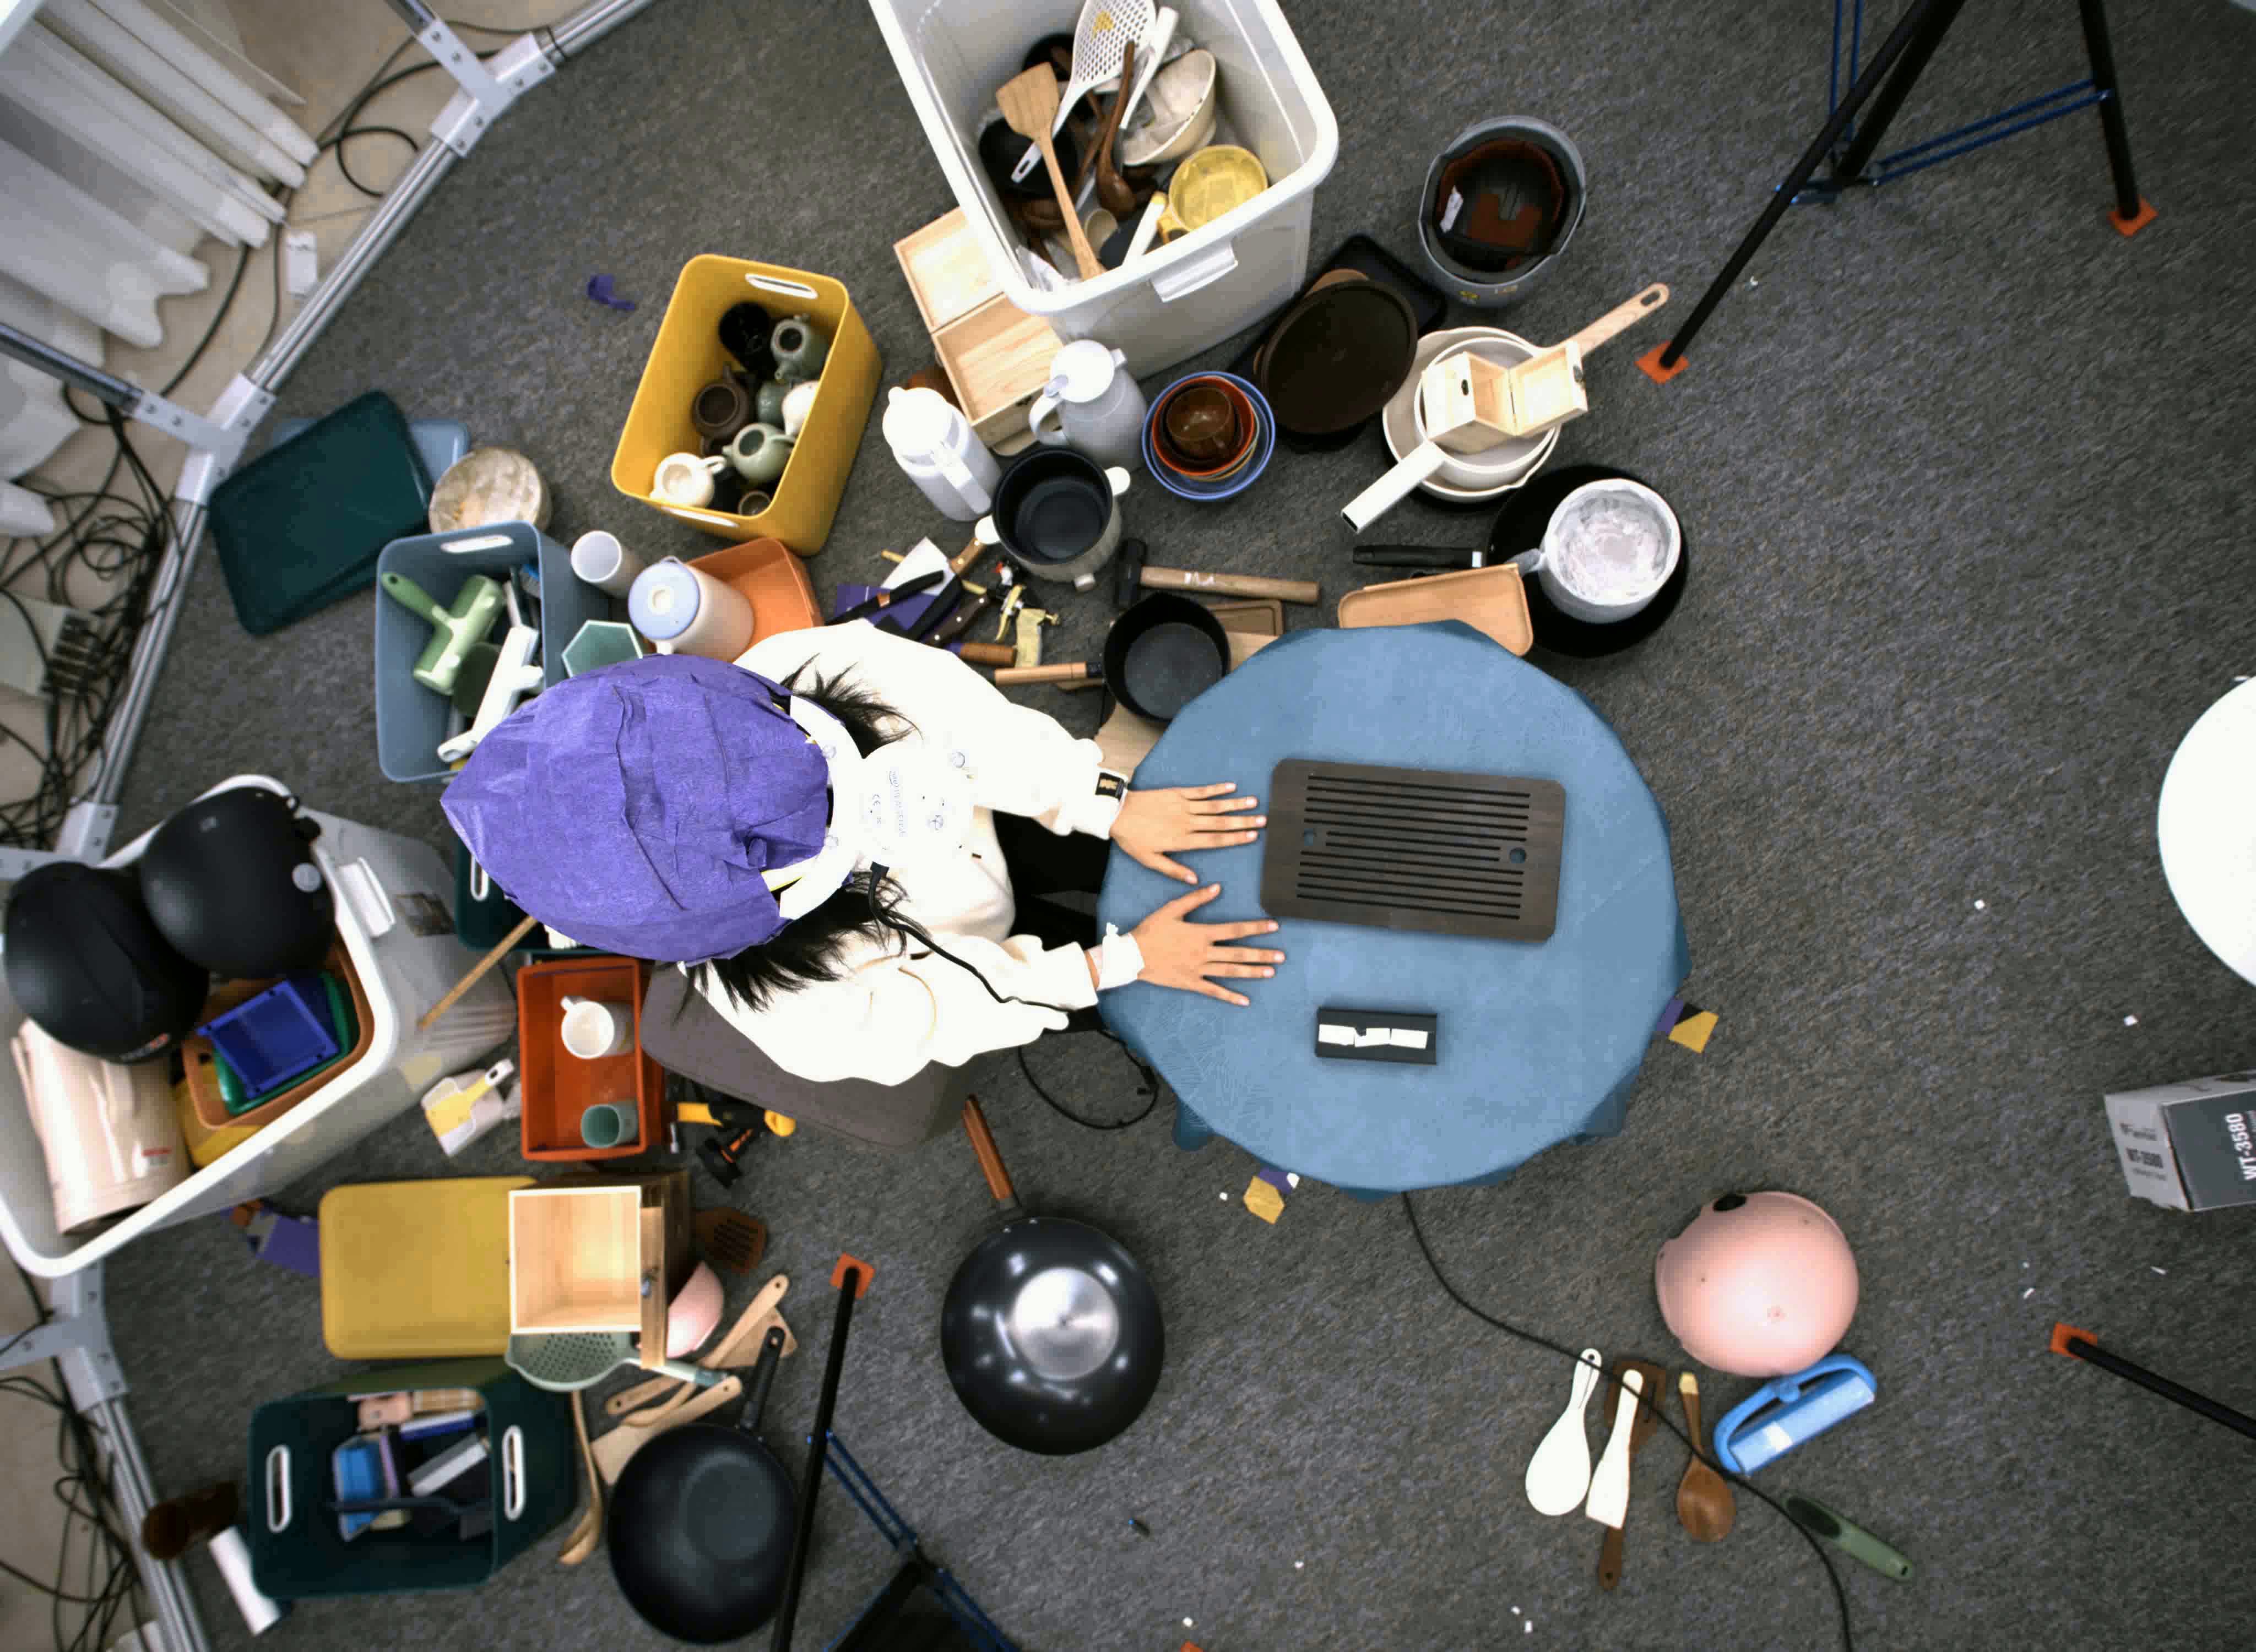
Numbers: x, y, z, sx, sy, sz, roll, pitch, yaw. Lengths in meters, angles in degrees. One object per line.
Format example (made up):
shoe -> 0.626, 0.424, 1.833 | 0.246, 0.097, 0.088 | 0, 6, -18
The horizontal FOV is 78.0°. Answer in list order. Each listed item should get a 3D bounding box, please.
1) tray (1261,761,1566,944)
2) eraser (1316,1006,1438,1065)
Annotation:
tray -> 0.298, 0.026, 1.448 | 0.307, 0.018, 0.169 | 5, 88, 11
eraser -> 0.260, 0.216, 1.441 | 0.126, 0.030, 0.053 | 2, 84, 12
